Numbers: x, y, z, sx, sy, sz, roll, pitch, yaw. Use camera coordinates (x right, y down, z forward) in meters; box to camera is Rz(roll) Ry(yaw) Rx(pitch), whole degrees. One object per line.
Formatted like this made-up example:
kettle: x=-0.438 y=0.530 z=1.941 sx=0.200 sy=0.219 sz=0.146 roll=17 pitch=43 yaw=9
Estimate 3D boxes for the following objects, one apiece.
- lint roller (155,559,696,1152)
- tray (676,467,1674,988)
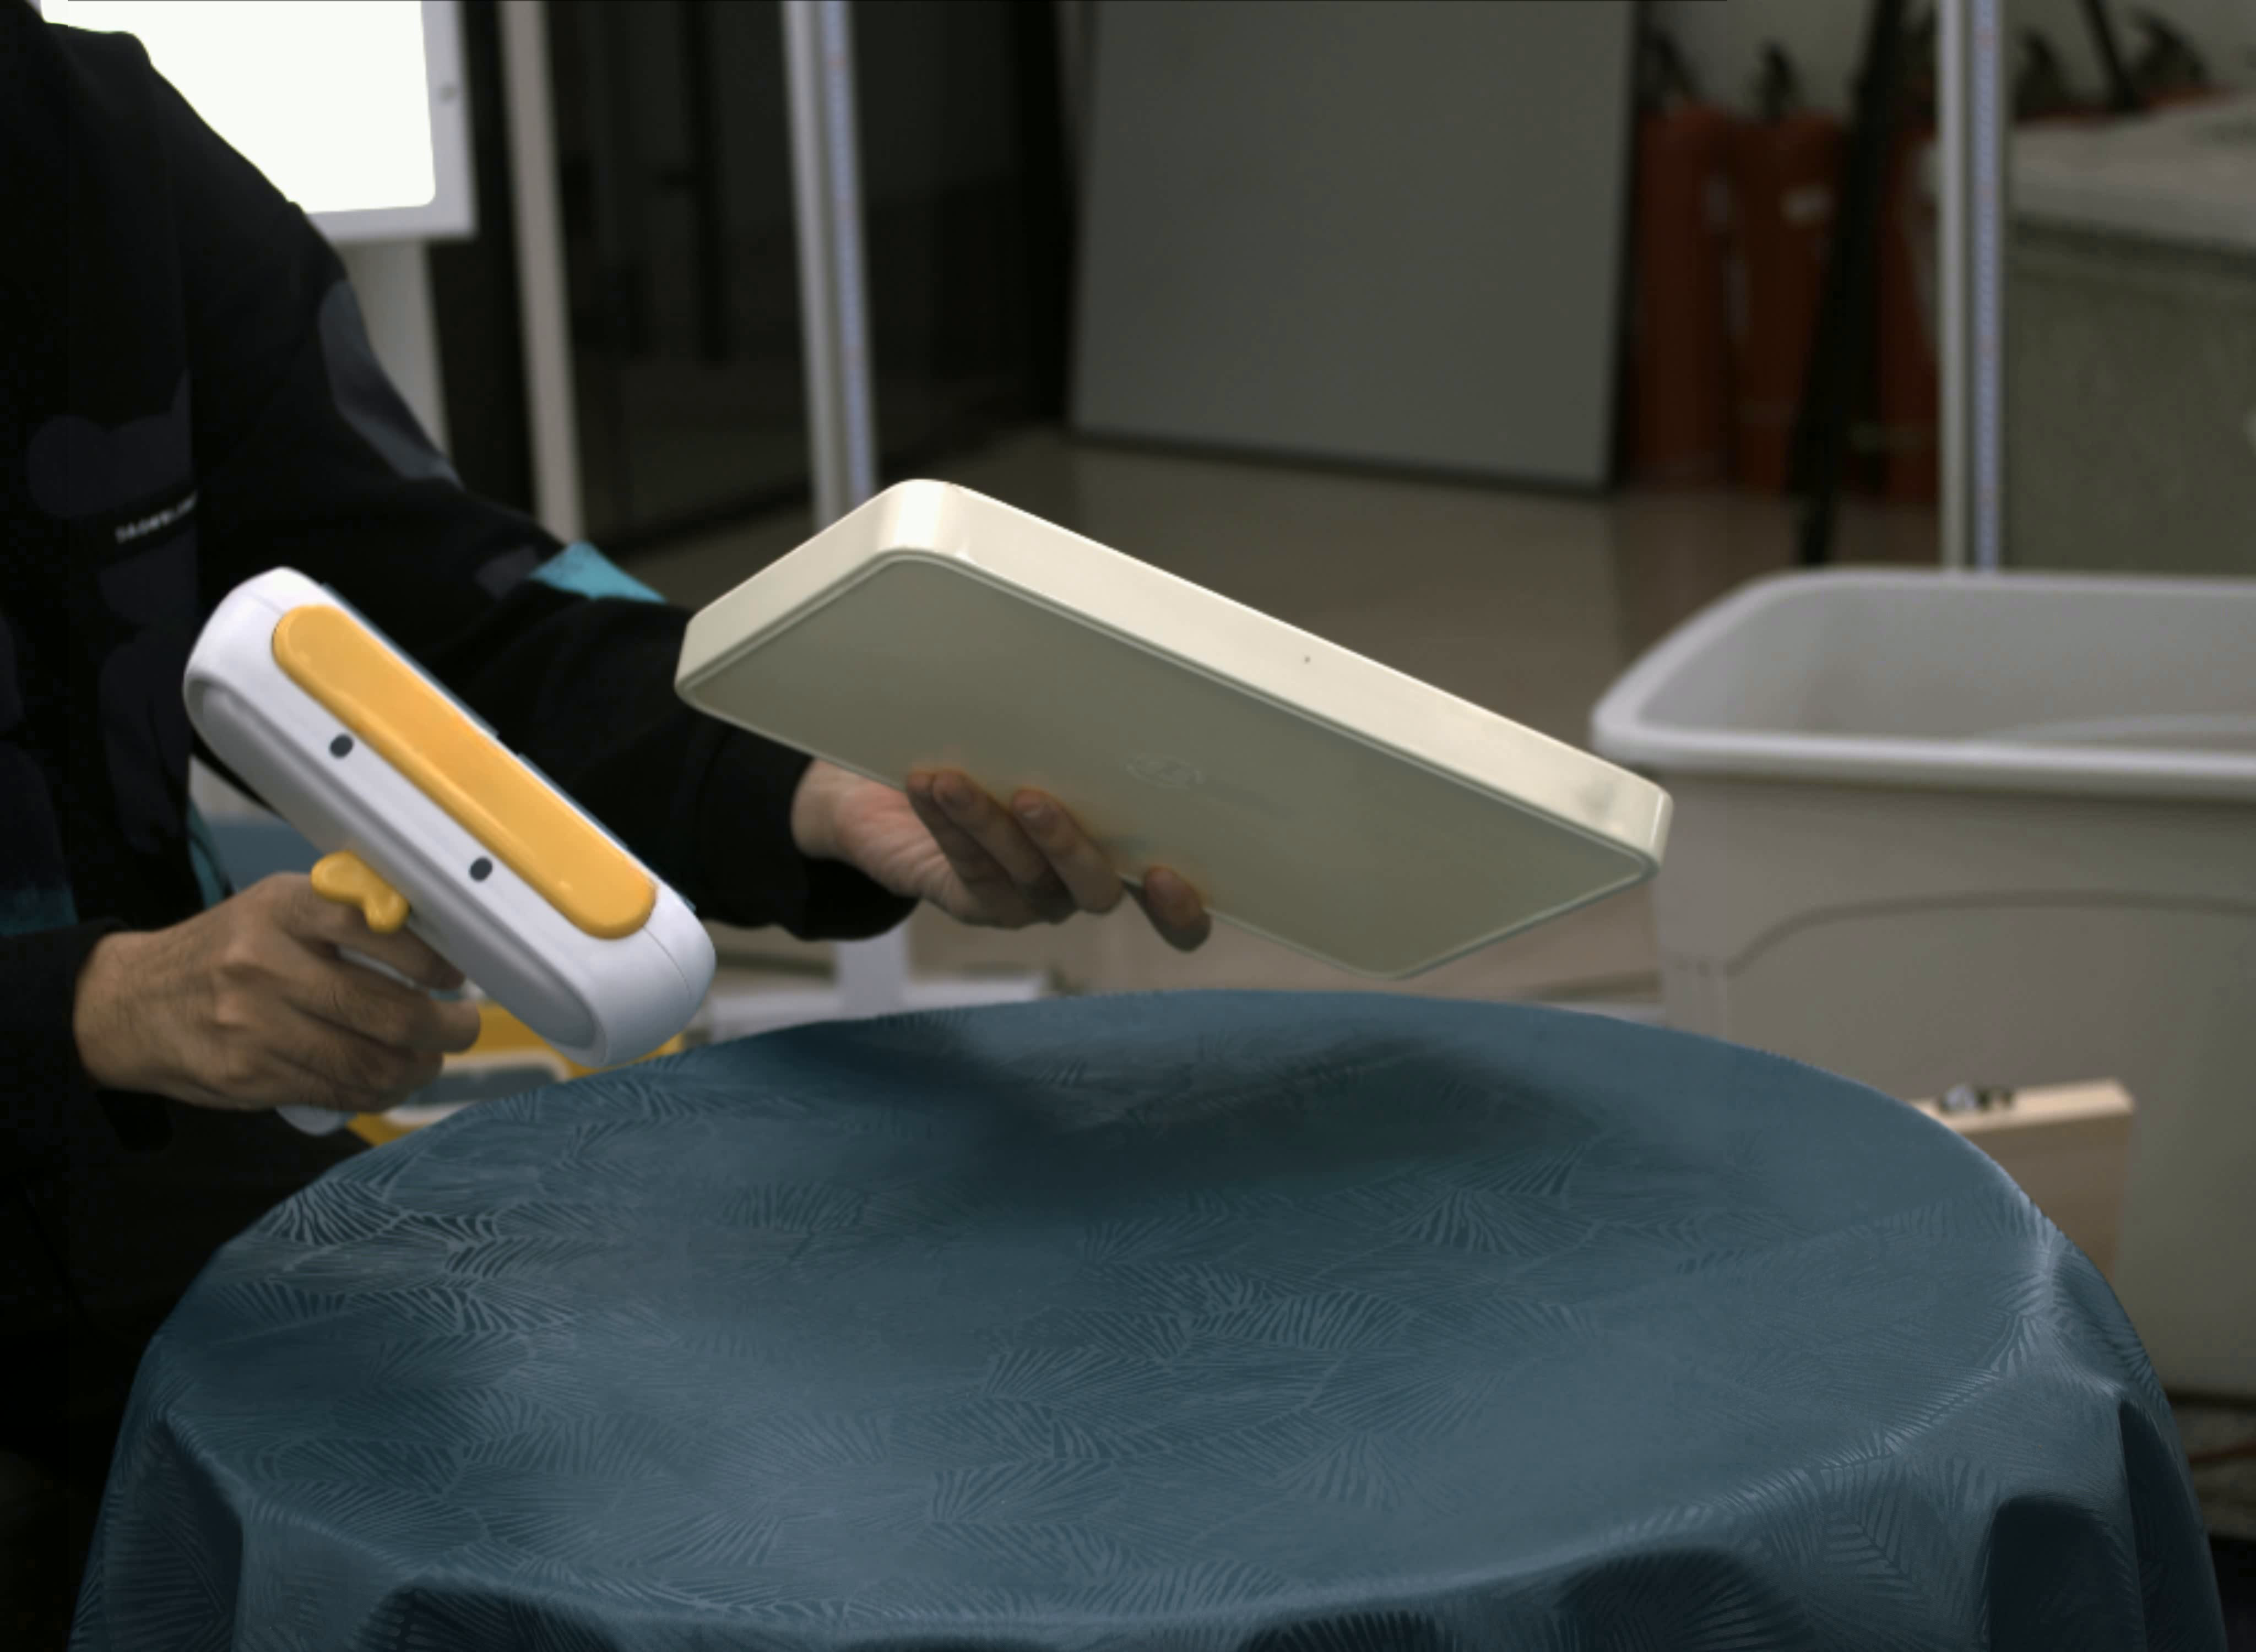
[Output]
lint roller: x=-0.228 y=0.031 z=1.686 sx=0.193 sy=0.194 sz=0.073 roll=34 pitch=56 yaw=10
tray: x=0.014 y=-0.026 z=1.800 sx=0.295 sy=0.027 sz=0.193 roll=22 pitch=-25 yaw=-21
